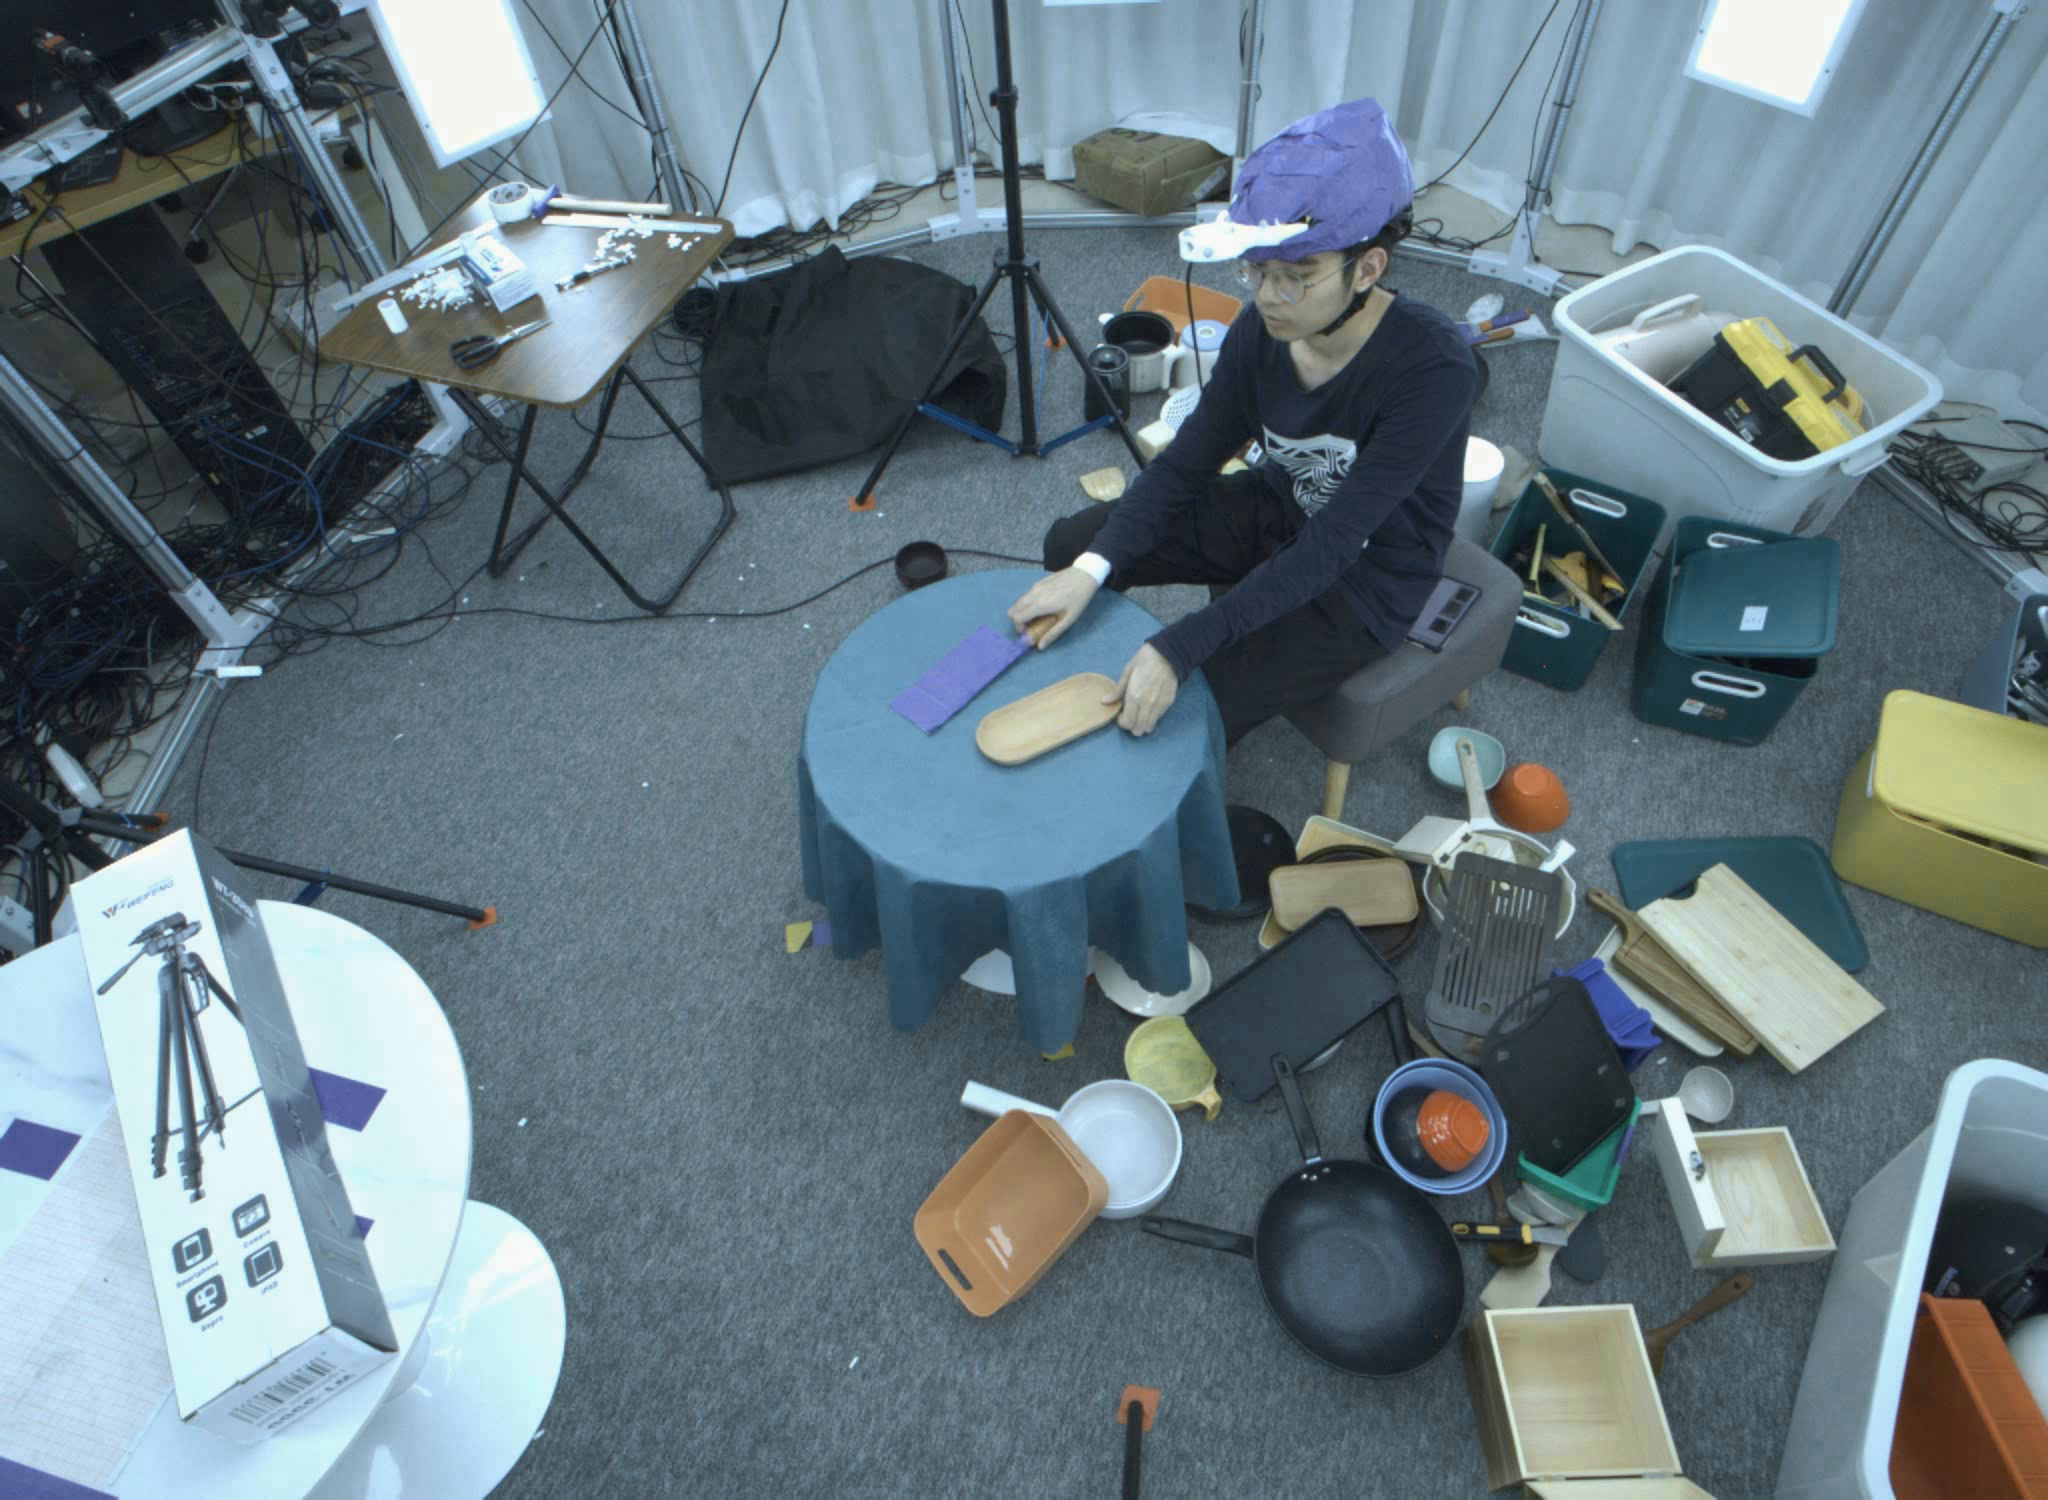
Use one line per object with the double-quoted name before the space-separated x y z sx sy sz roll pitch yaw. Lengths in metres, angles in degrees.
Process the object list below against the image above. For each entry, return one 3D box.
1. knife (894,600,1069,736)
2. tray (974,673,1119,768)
"knife" -0.067 -0.145 1.884 0.102 0.032 0.317 36 63 24
"tray" 0.035 -0.044 1.815 0.233 0.020 0.100 -27 56 -16
